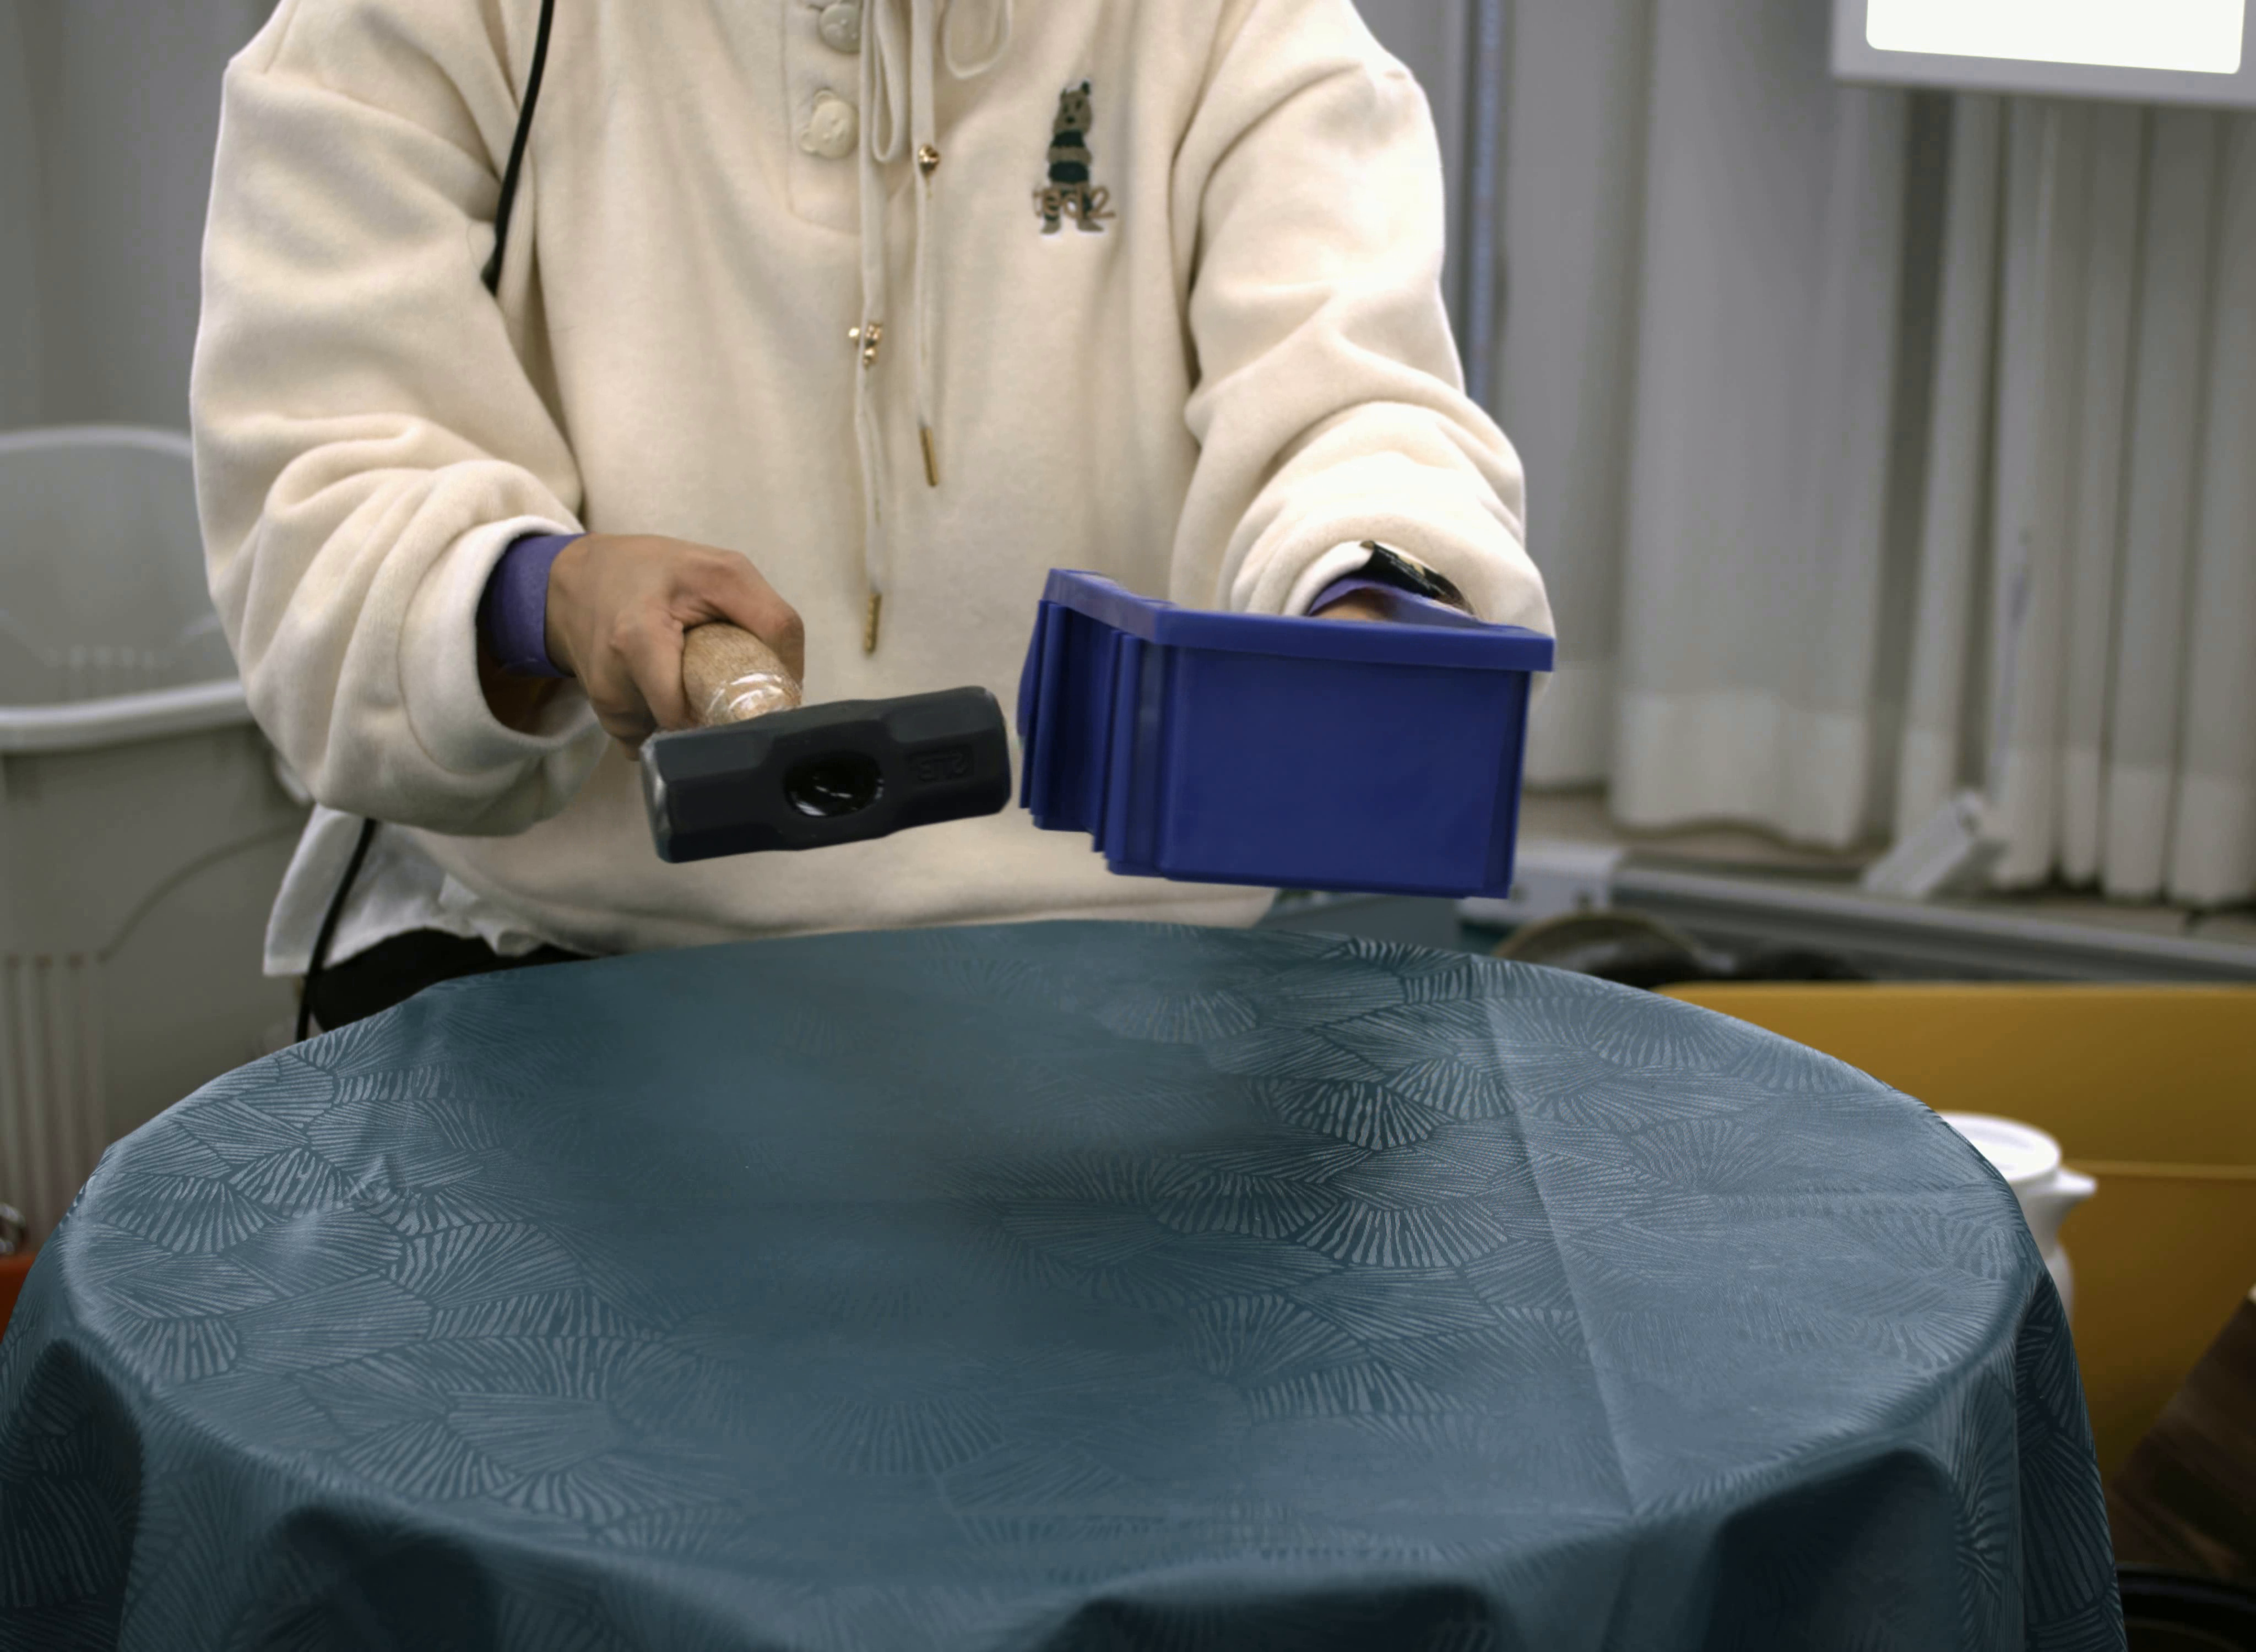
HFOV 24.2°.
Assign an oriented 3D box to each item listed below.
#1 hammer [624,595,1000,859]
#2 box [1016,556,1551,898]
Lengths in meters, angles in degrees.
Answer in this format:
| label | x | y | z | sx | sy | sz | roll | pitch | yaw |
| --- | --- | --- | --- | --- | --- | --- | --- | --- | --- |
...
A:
| label | x | y | z | sx | sy | sz | roll | pitch | yaw |
| --- | --- | --- | --- | --- | --- | --- | --- | --- | --- |
| hammer | -0.112 | -0.040 | 1.668 | 0.107 | 0.038 | 0.303 | -9 | 11 | -7 |
| box | 0.041 | -0.032 | 1.600 | 0.125 | 0.082 | 0.178 | 4 | 9 | -13 |
